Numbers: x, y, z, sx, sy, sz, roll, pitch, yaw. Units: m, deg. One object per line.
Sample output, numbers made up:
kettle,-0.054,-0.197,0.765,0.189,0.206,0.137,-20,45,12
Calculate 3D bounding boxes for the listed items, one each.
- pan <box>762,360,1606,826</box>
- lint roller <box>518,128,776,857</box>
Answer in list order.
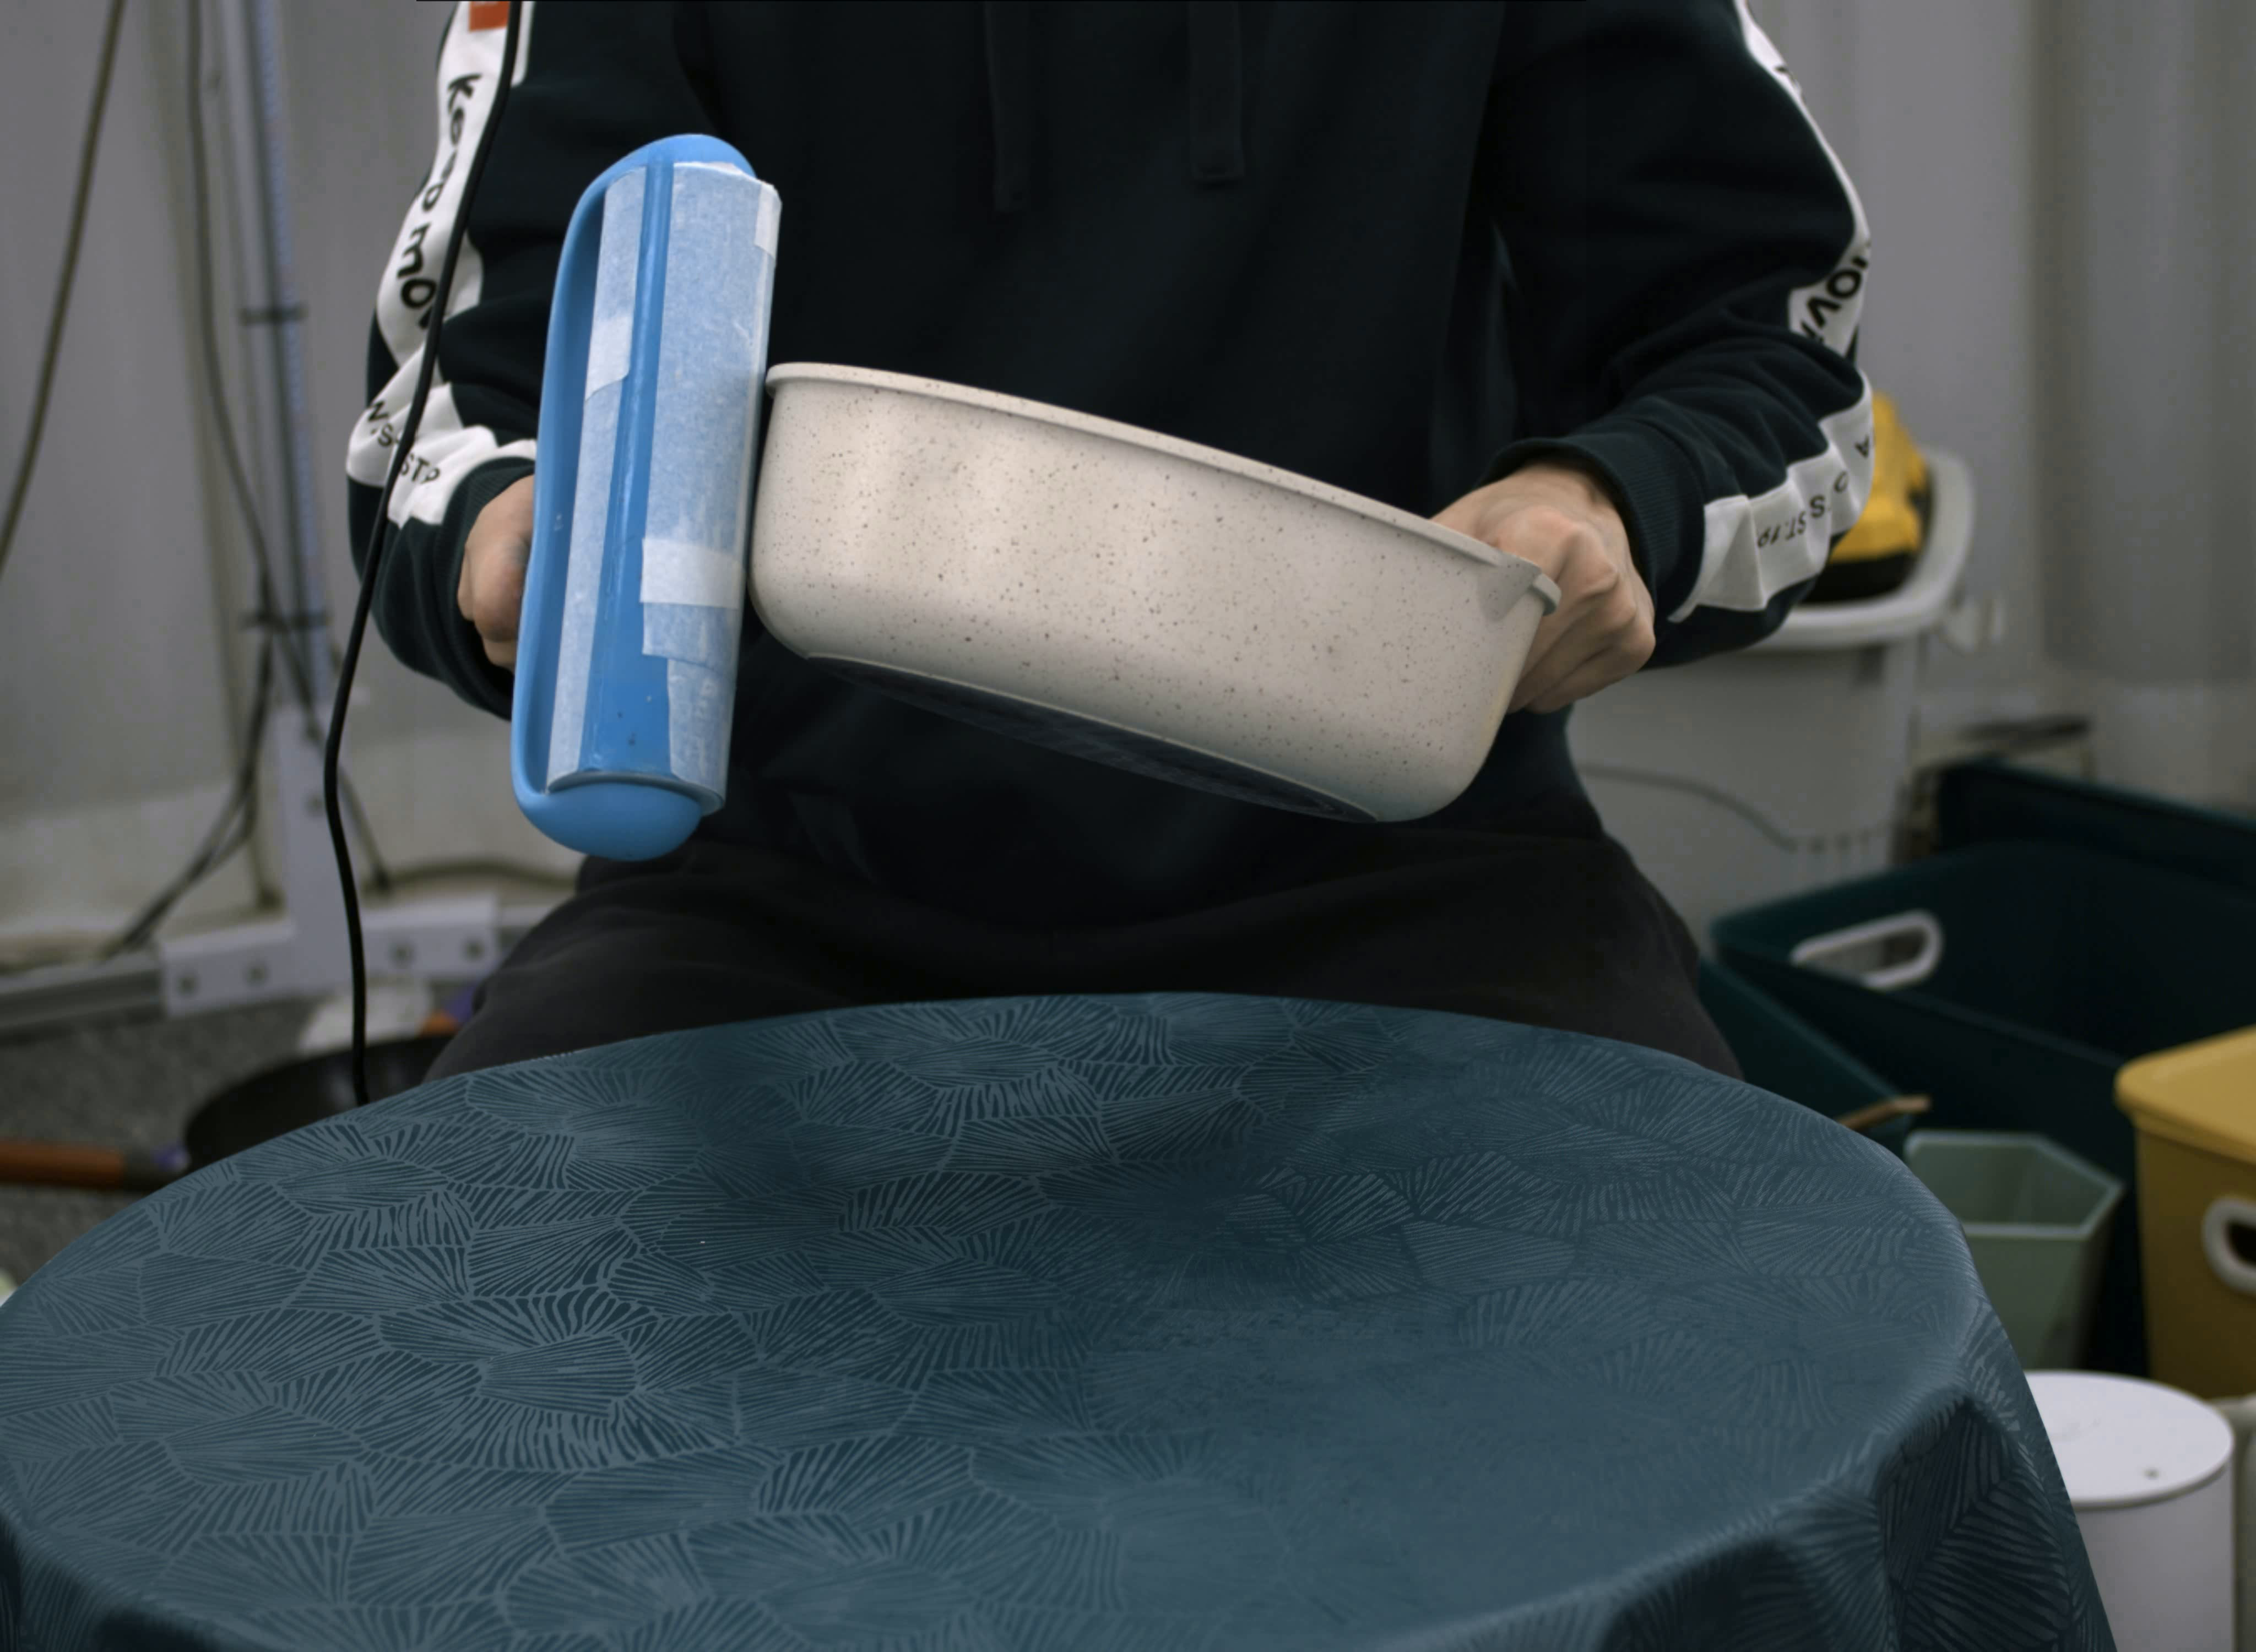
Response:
pan,0.050,-0.055,1.743,0.264,0.102,0.431,13,-5,30
lint roller,-0.155,-0.085,1.706,0.067,0.231,0.179,6,-19,-14
